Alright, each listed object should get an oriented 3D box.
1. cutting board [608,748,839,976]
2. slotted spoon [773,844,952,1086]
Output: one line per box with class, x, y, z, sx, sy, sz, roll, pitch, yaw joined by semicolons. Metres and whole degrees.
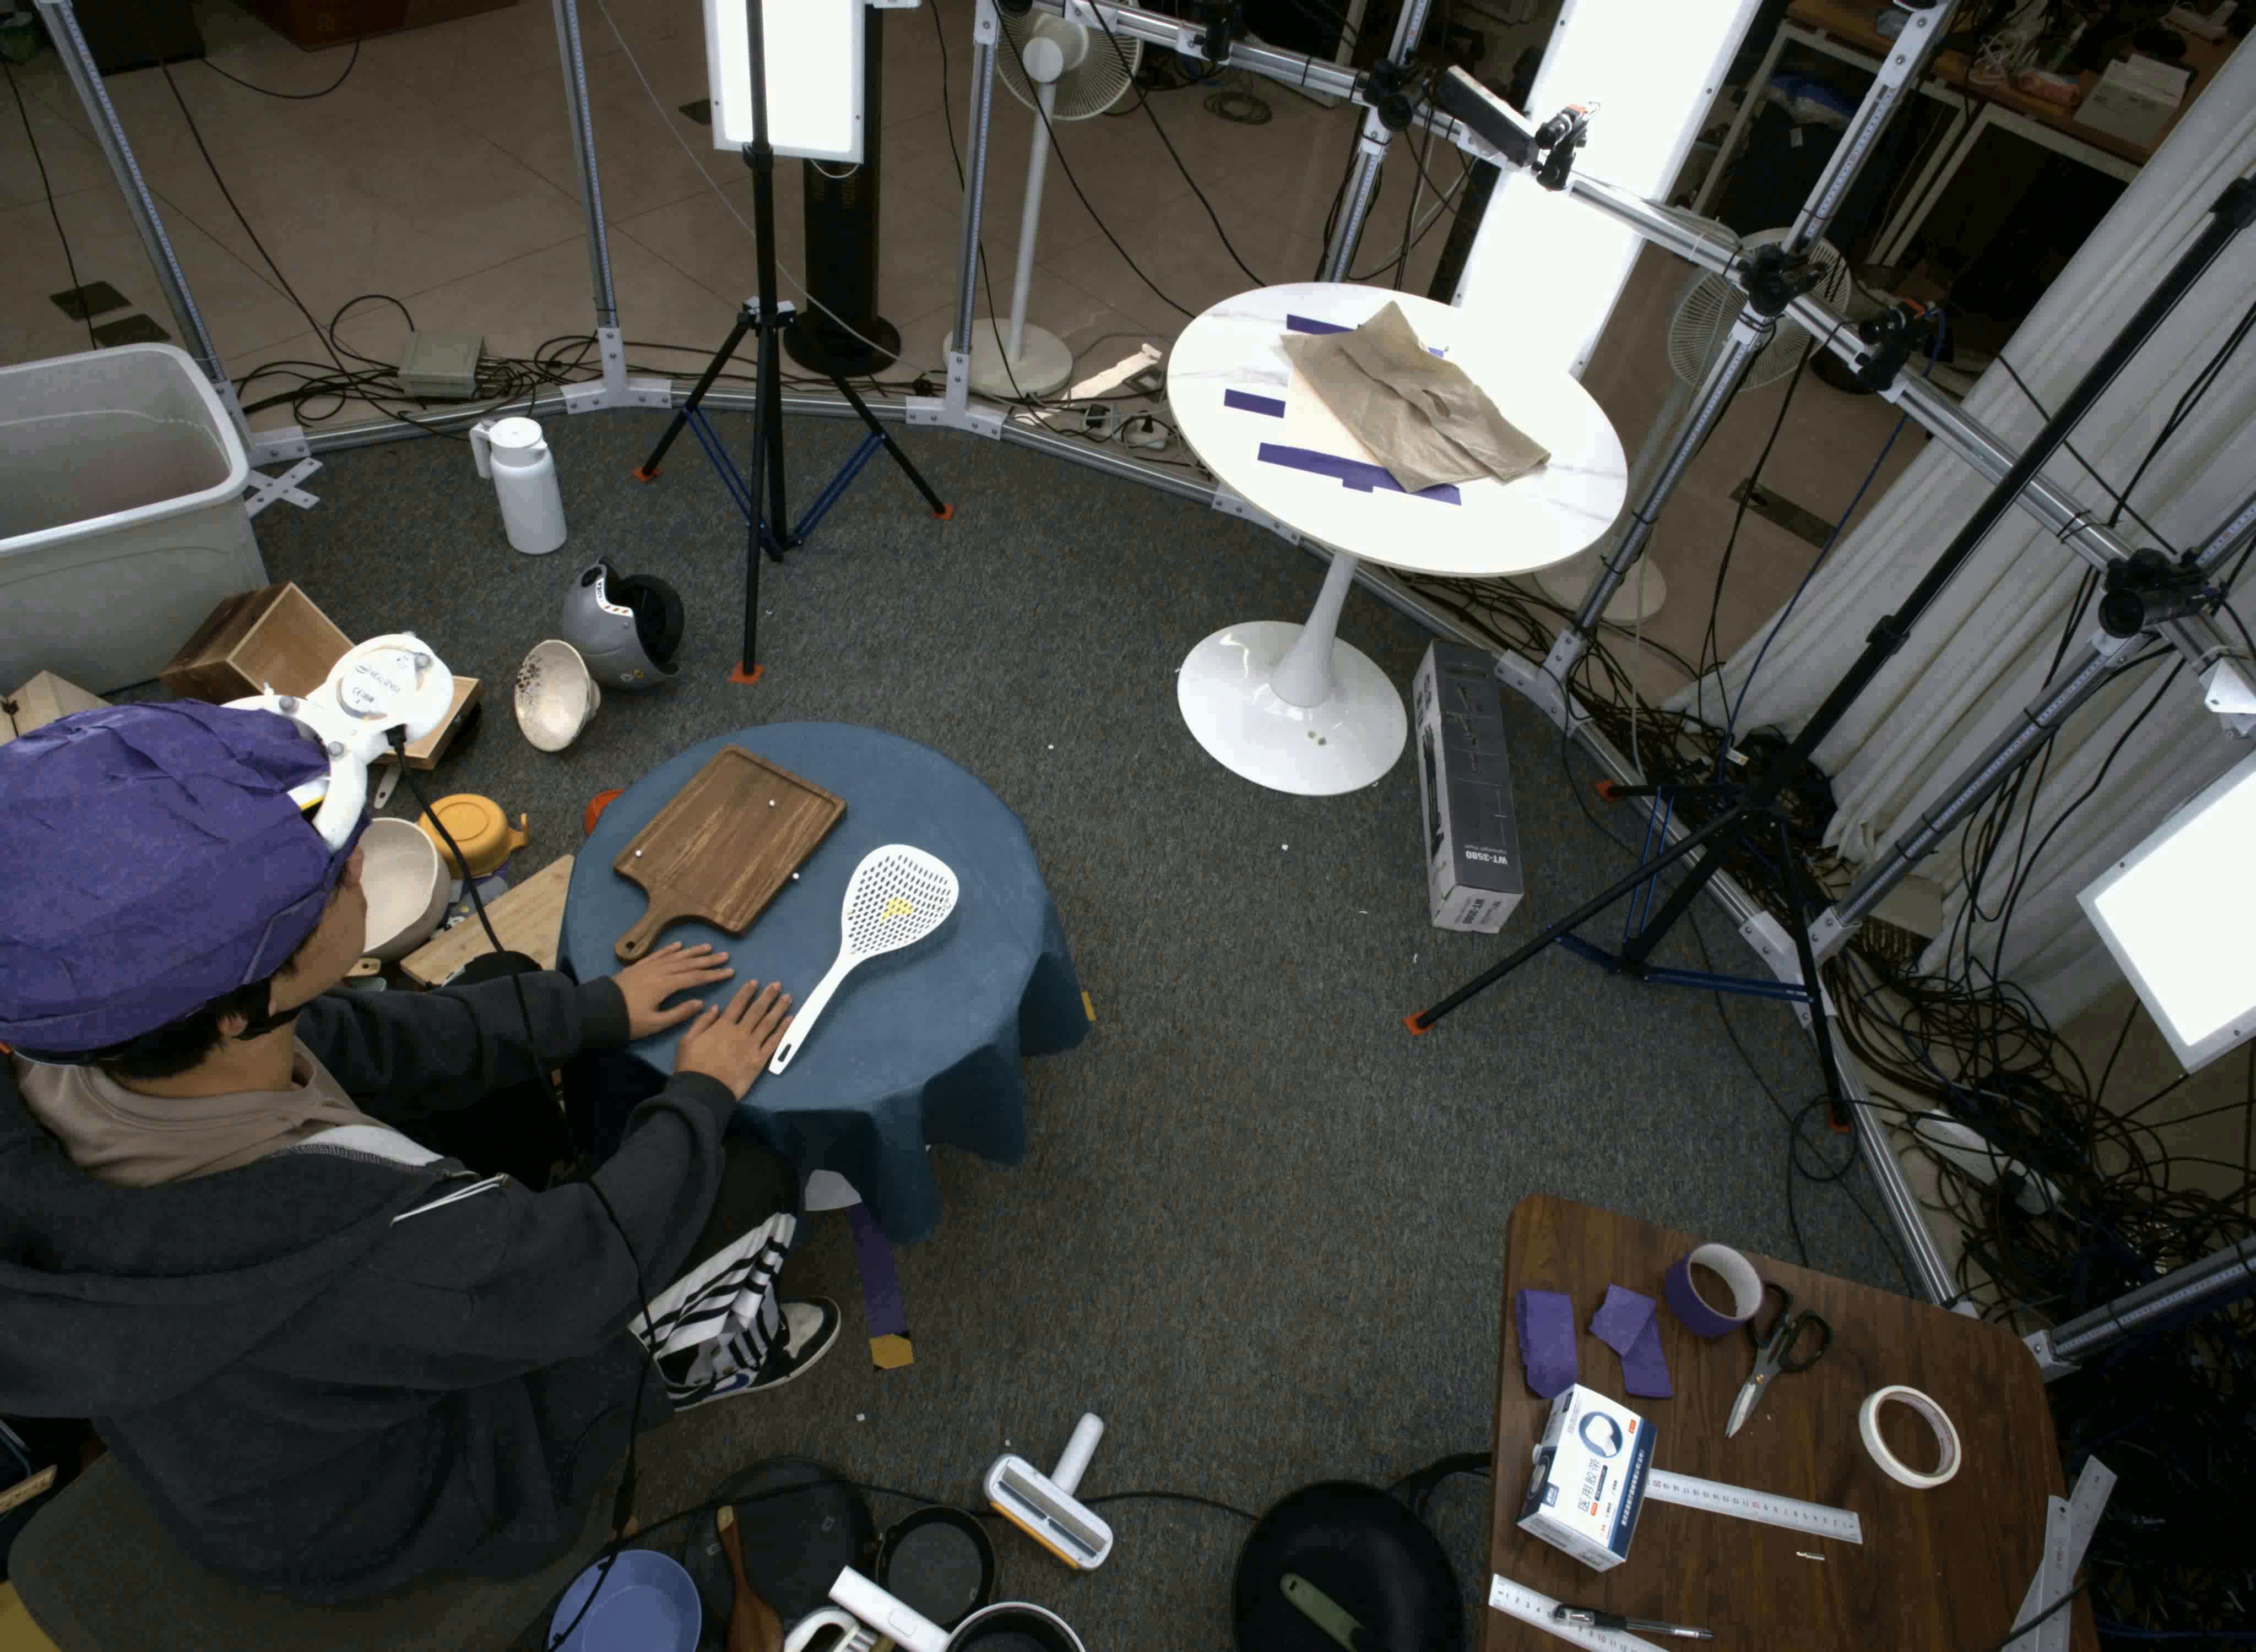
cutting board;-0.543;0.051;1.647;0.198;0.023;0.350;26;52;6
slotted spoon;-0.343;0.165;1.600;0.135;0.051;0.346;28;52;5
